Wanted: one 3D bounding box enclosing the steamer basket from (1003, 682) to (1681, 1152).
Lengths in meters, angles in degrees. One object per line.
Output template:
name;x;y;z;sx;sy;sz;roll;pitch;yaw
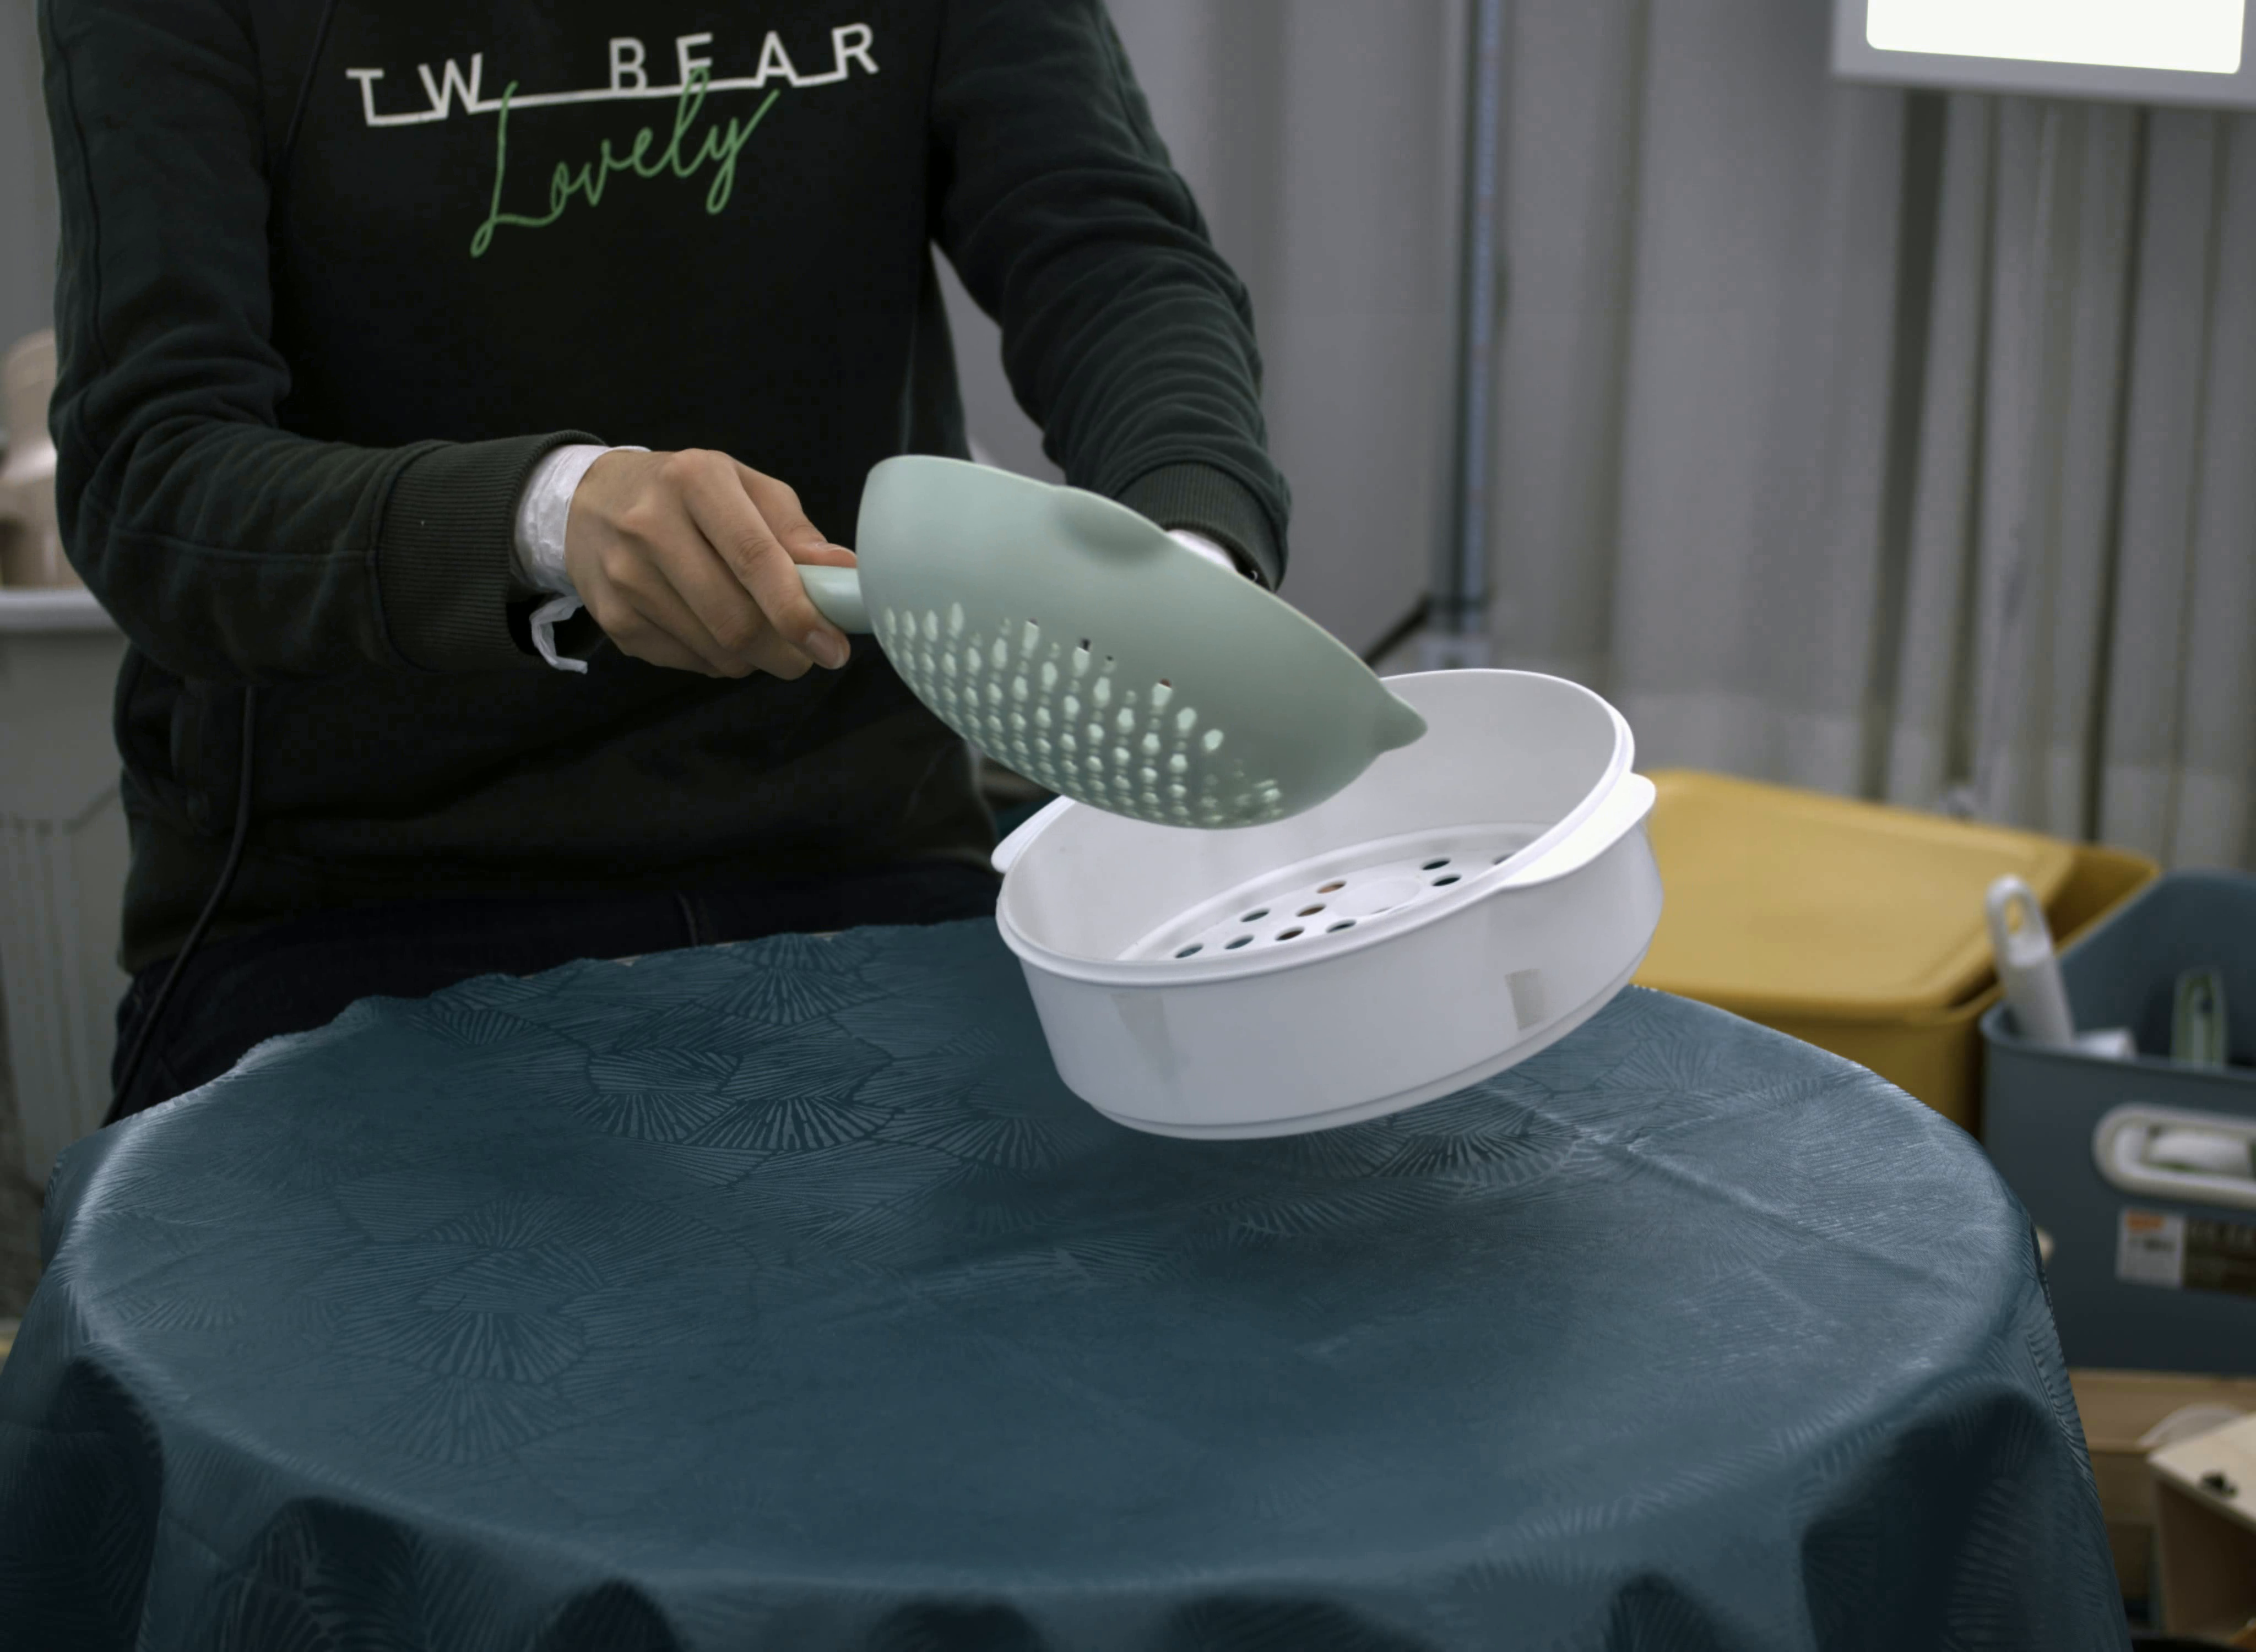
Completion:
steamer basket;0.069;0.027;1.597;0.228;0.070;0.202;0;26;39

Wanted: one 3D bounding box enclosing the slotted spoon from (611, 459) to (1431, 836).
slotted spoon;-0.059;-0.061;1.582;0.171;0.075;0.354;35;-7;-33
